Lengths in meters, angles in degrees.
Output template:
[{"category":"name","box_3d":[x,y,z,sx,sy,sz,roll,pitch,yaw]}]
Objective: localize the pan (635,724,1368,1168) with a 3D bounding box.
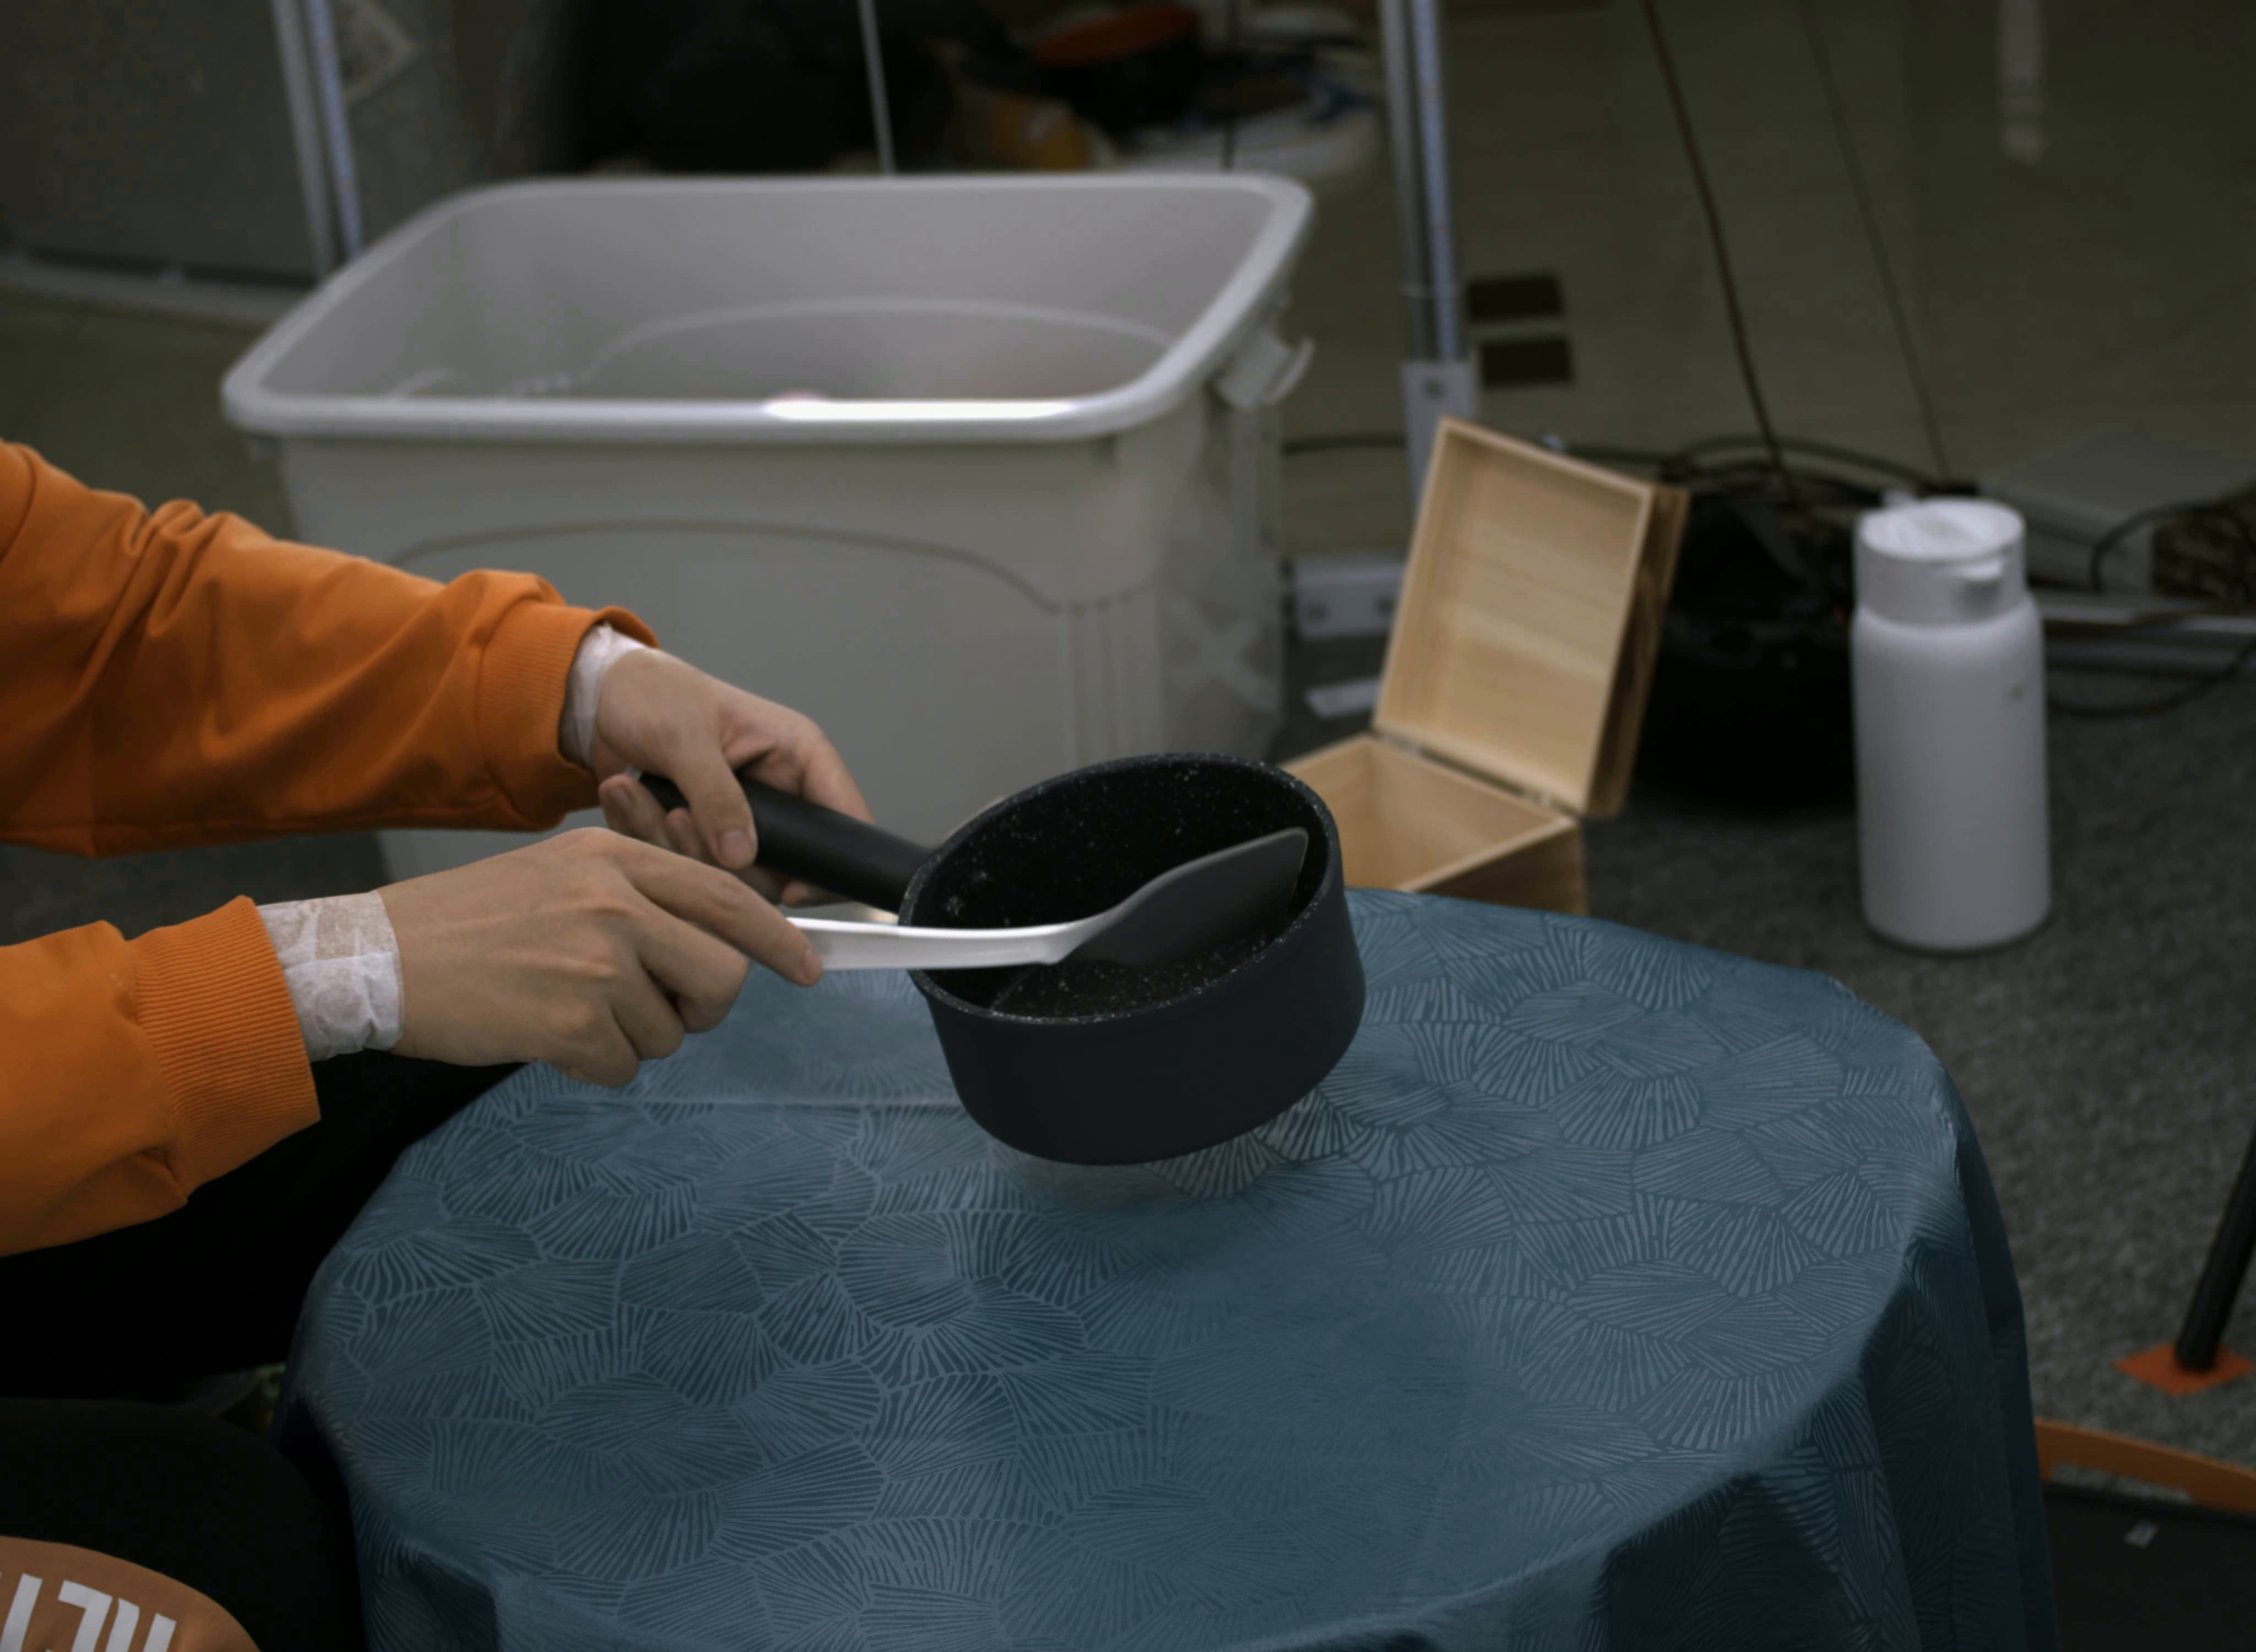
[{"category":"pan","box_3d":[-0.058,0.034,2.197,0.326,0.088,0.170,15,44,36]}]

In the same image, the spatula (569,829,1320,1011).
[{"category":"spatula","box_3d":[-0.062,0.038,2.059,0.287,0.060,0.031,-5,44,-22]}]
